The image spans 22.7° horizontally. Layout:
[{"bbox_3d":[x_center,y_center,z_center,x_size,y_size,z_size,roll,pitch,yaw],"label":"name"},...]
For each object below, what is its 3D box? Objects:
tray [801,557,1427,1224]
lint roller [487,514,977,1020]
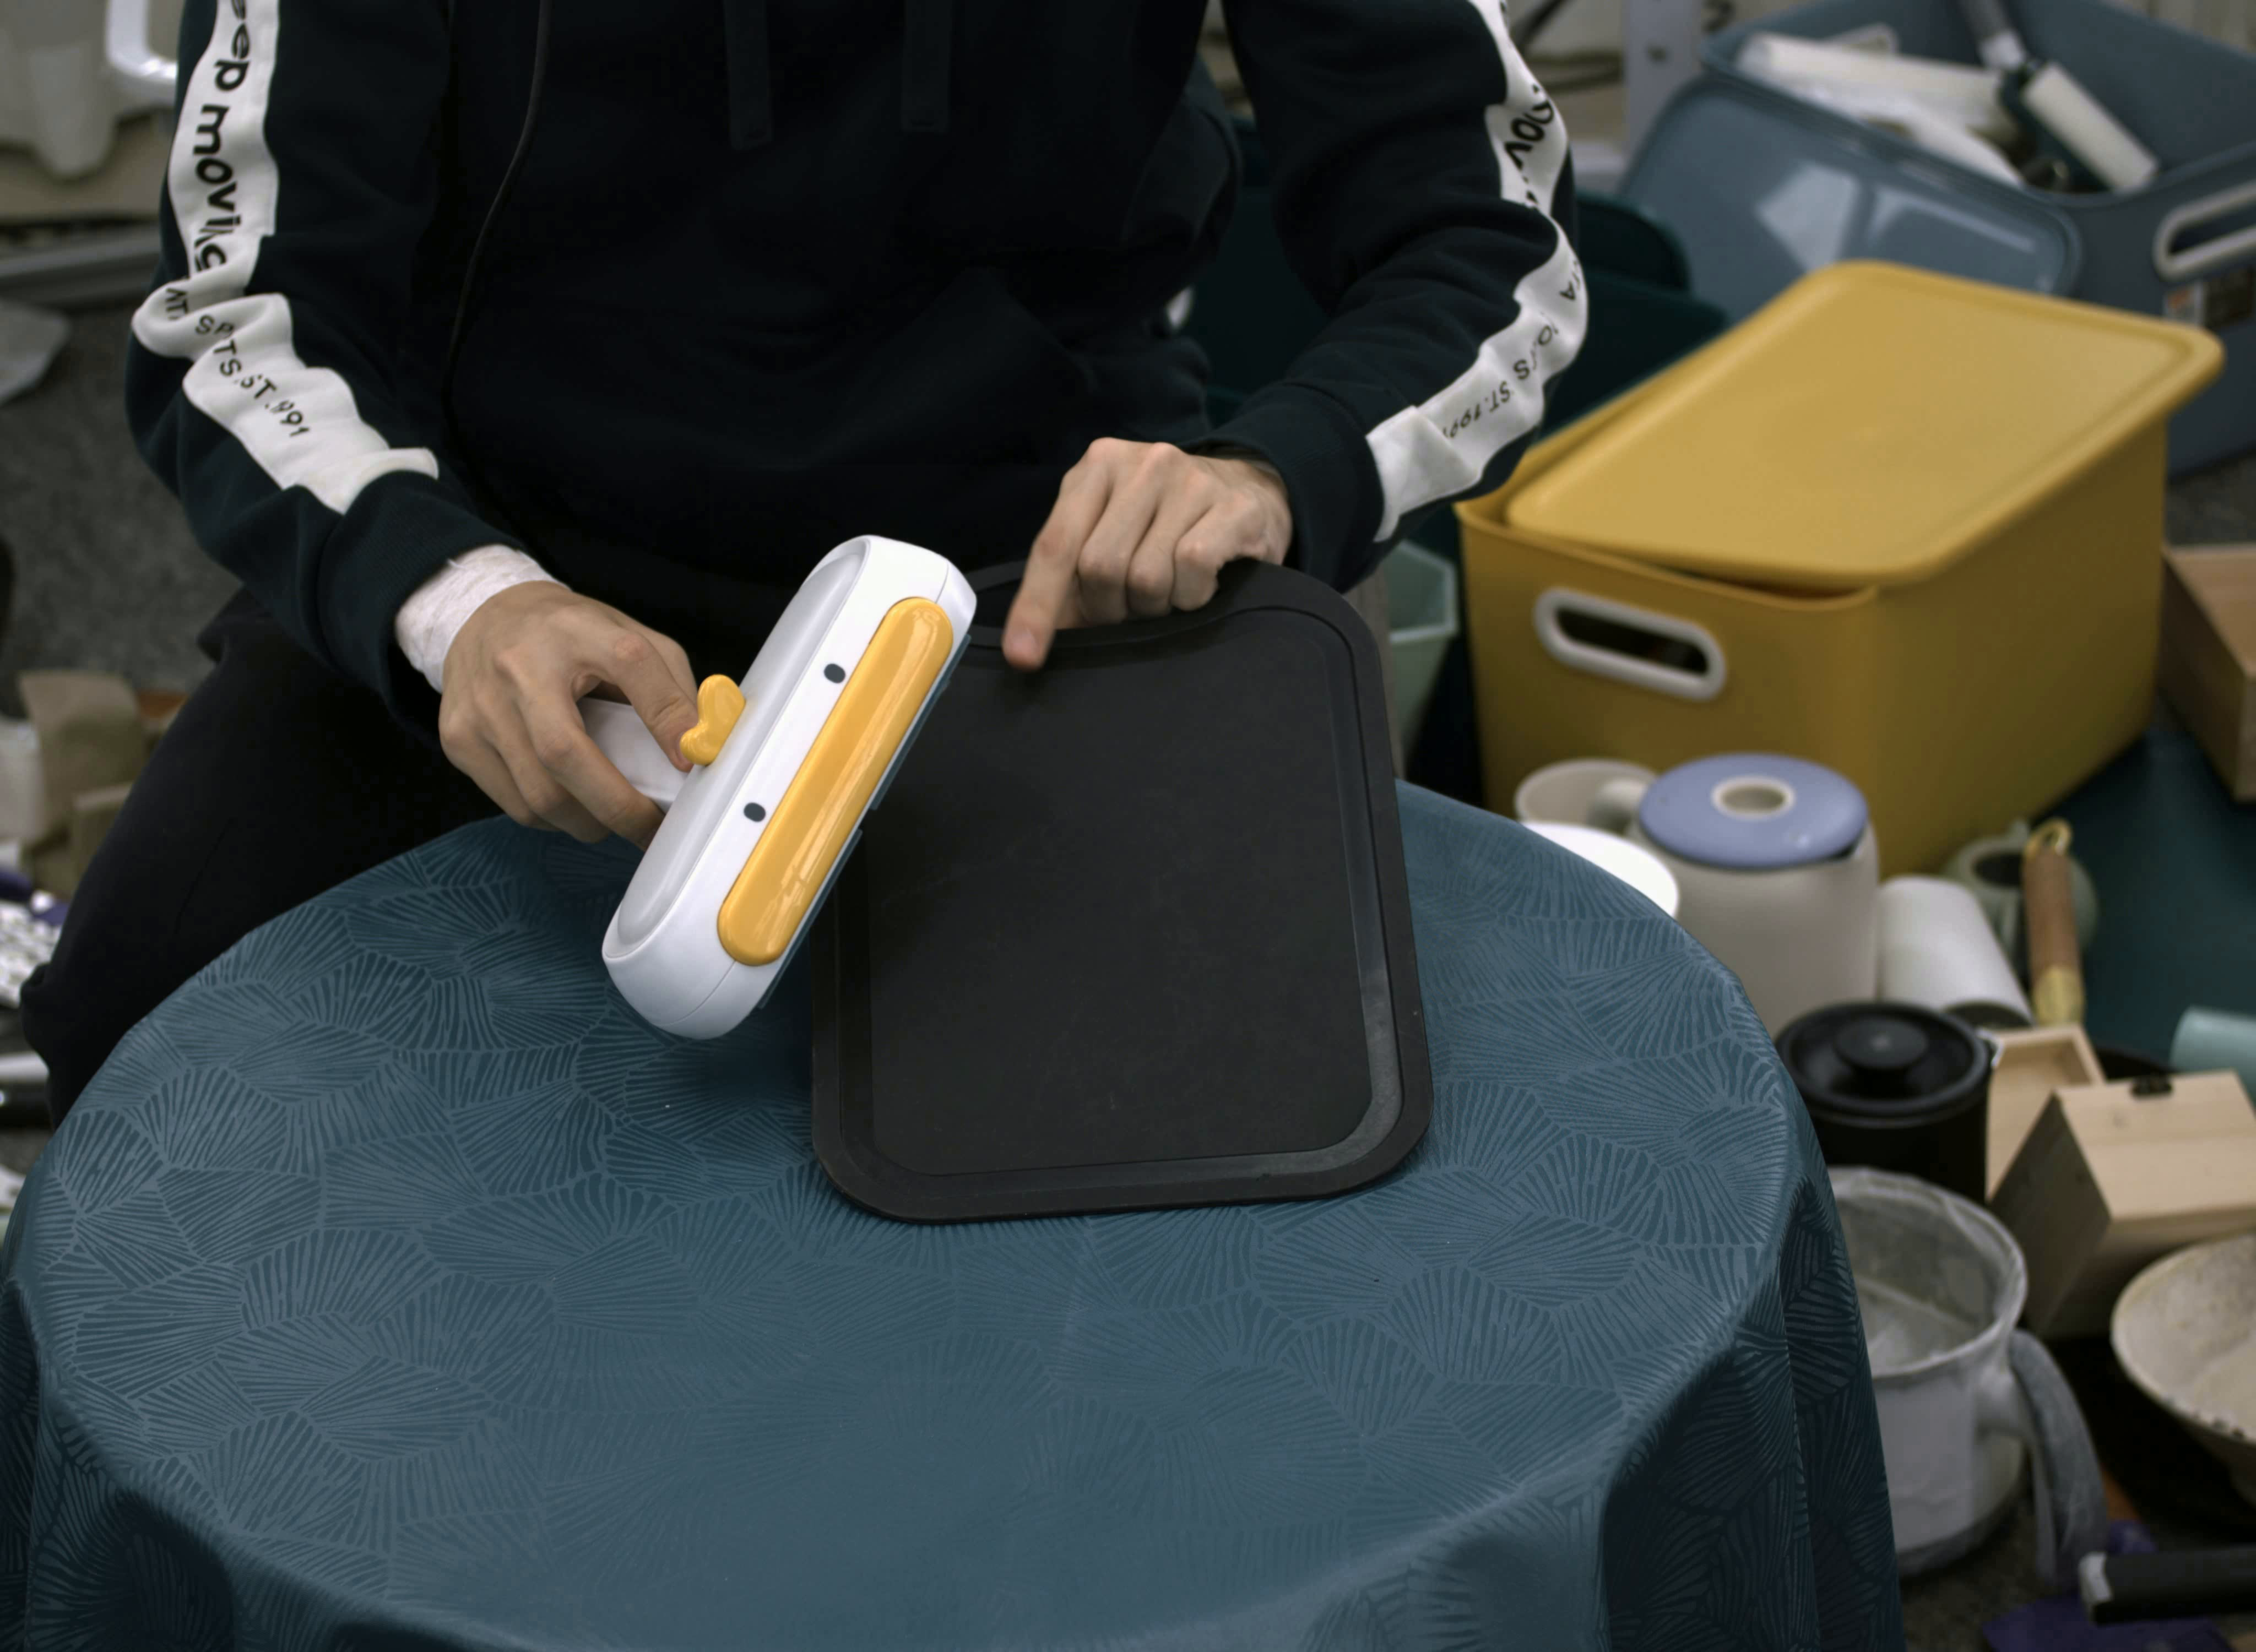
[{"bbox_3d":[-0.010,0.014,1.966,0.210,0.009,0.332,-3,43,-1],"label":"tray"},{"bbox_3d":[-0.154,-0.021,1.983,0.190,0.074,0.196,-7,54,52],"label":"lint roller"}]
